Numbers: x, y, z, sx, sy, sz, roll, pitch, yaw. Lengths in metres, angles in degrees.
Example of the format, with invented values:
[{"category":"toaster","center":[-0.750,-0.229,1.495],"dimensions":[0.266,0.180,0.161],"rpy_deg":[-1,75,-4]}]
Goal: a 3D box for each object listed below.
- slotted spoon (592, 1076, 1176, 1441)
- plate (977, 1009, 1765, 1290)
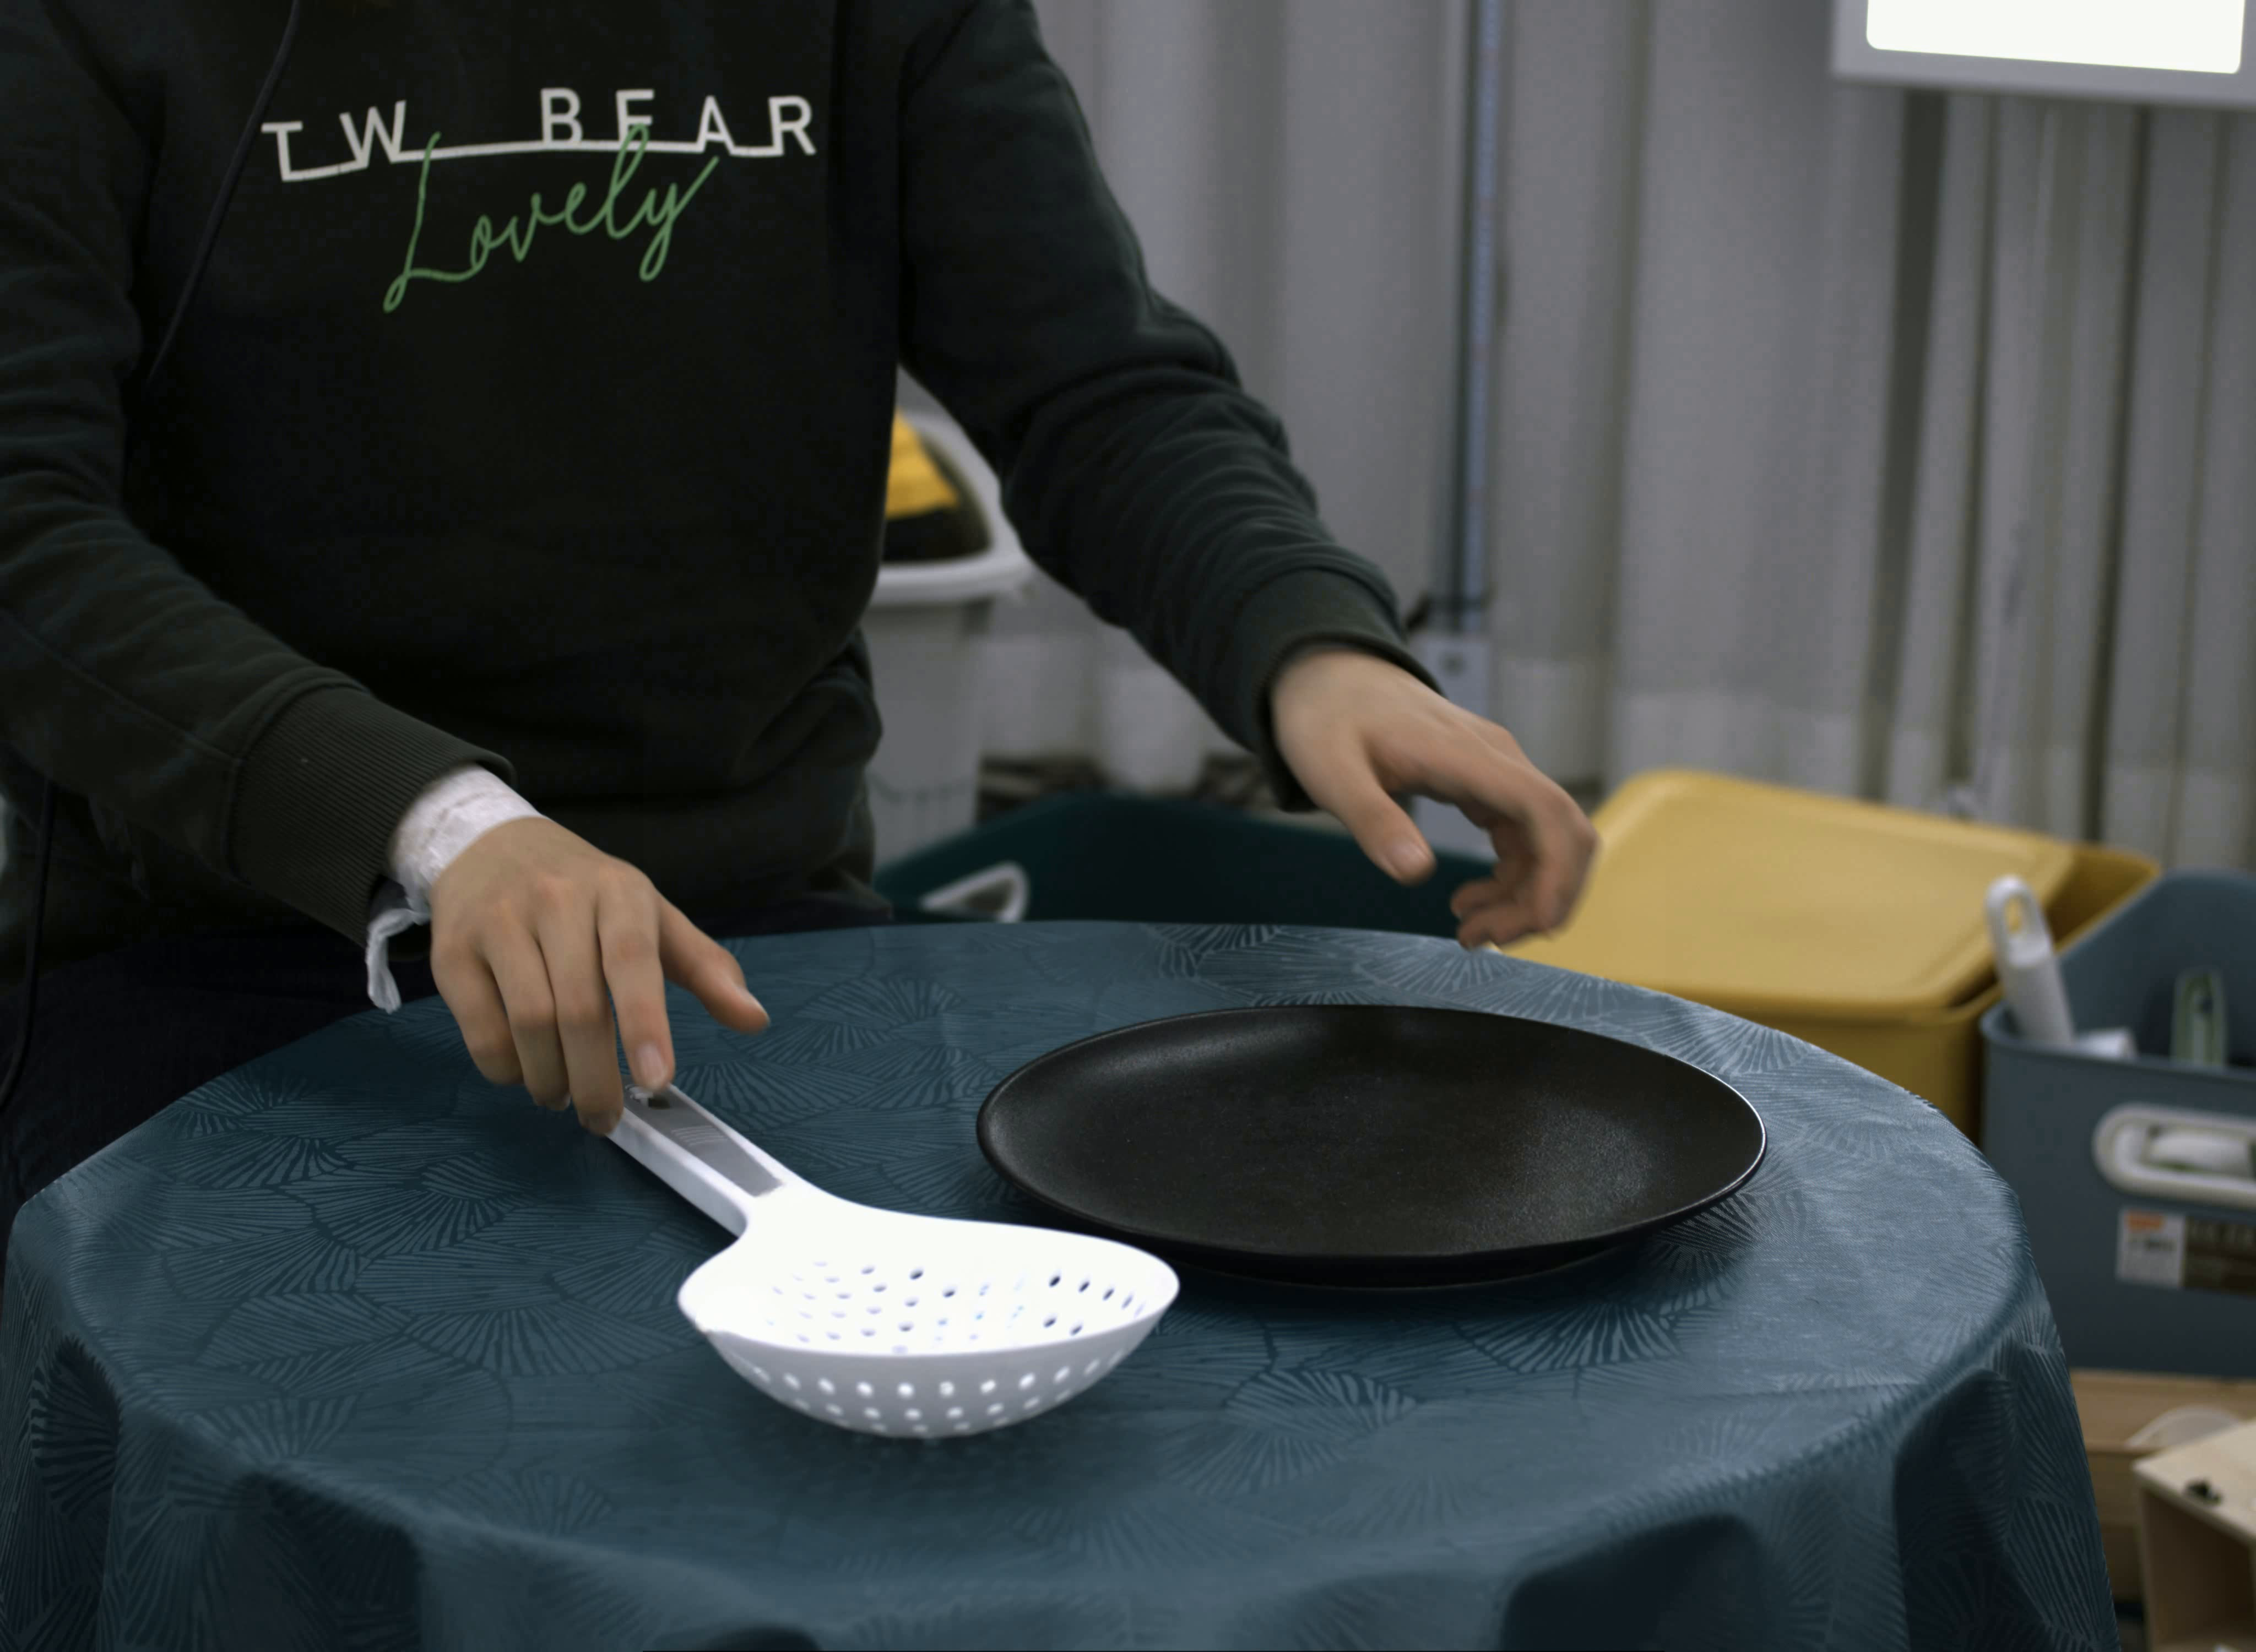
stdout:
[{"category":"slotted spoon","center":[-0.096,0.116,1.528],"dimensions":[0.136,0.046,0.346],"rpy_deg":[-4,15,-22]},{"category":"plate","center":[0.074,0.102,1.626],"dimensions":[0.243,0.023,0.243],"rpy_deg":[1,16,0]}]
